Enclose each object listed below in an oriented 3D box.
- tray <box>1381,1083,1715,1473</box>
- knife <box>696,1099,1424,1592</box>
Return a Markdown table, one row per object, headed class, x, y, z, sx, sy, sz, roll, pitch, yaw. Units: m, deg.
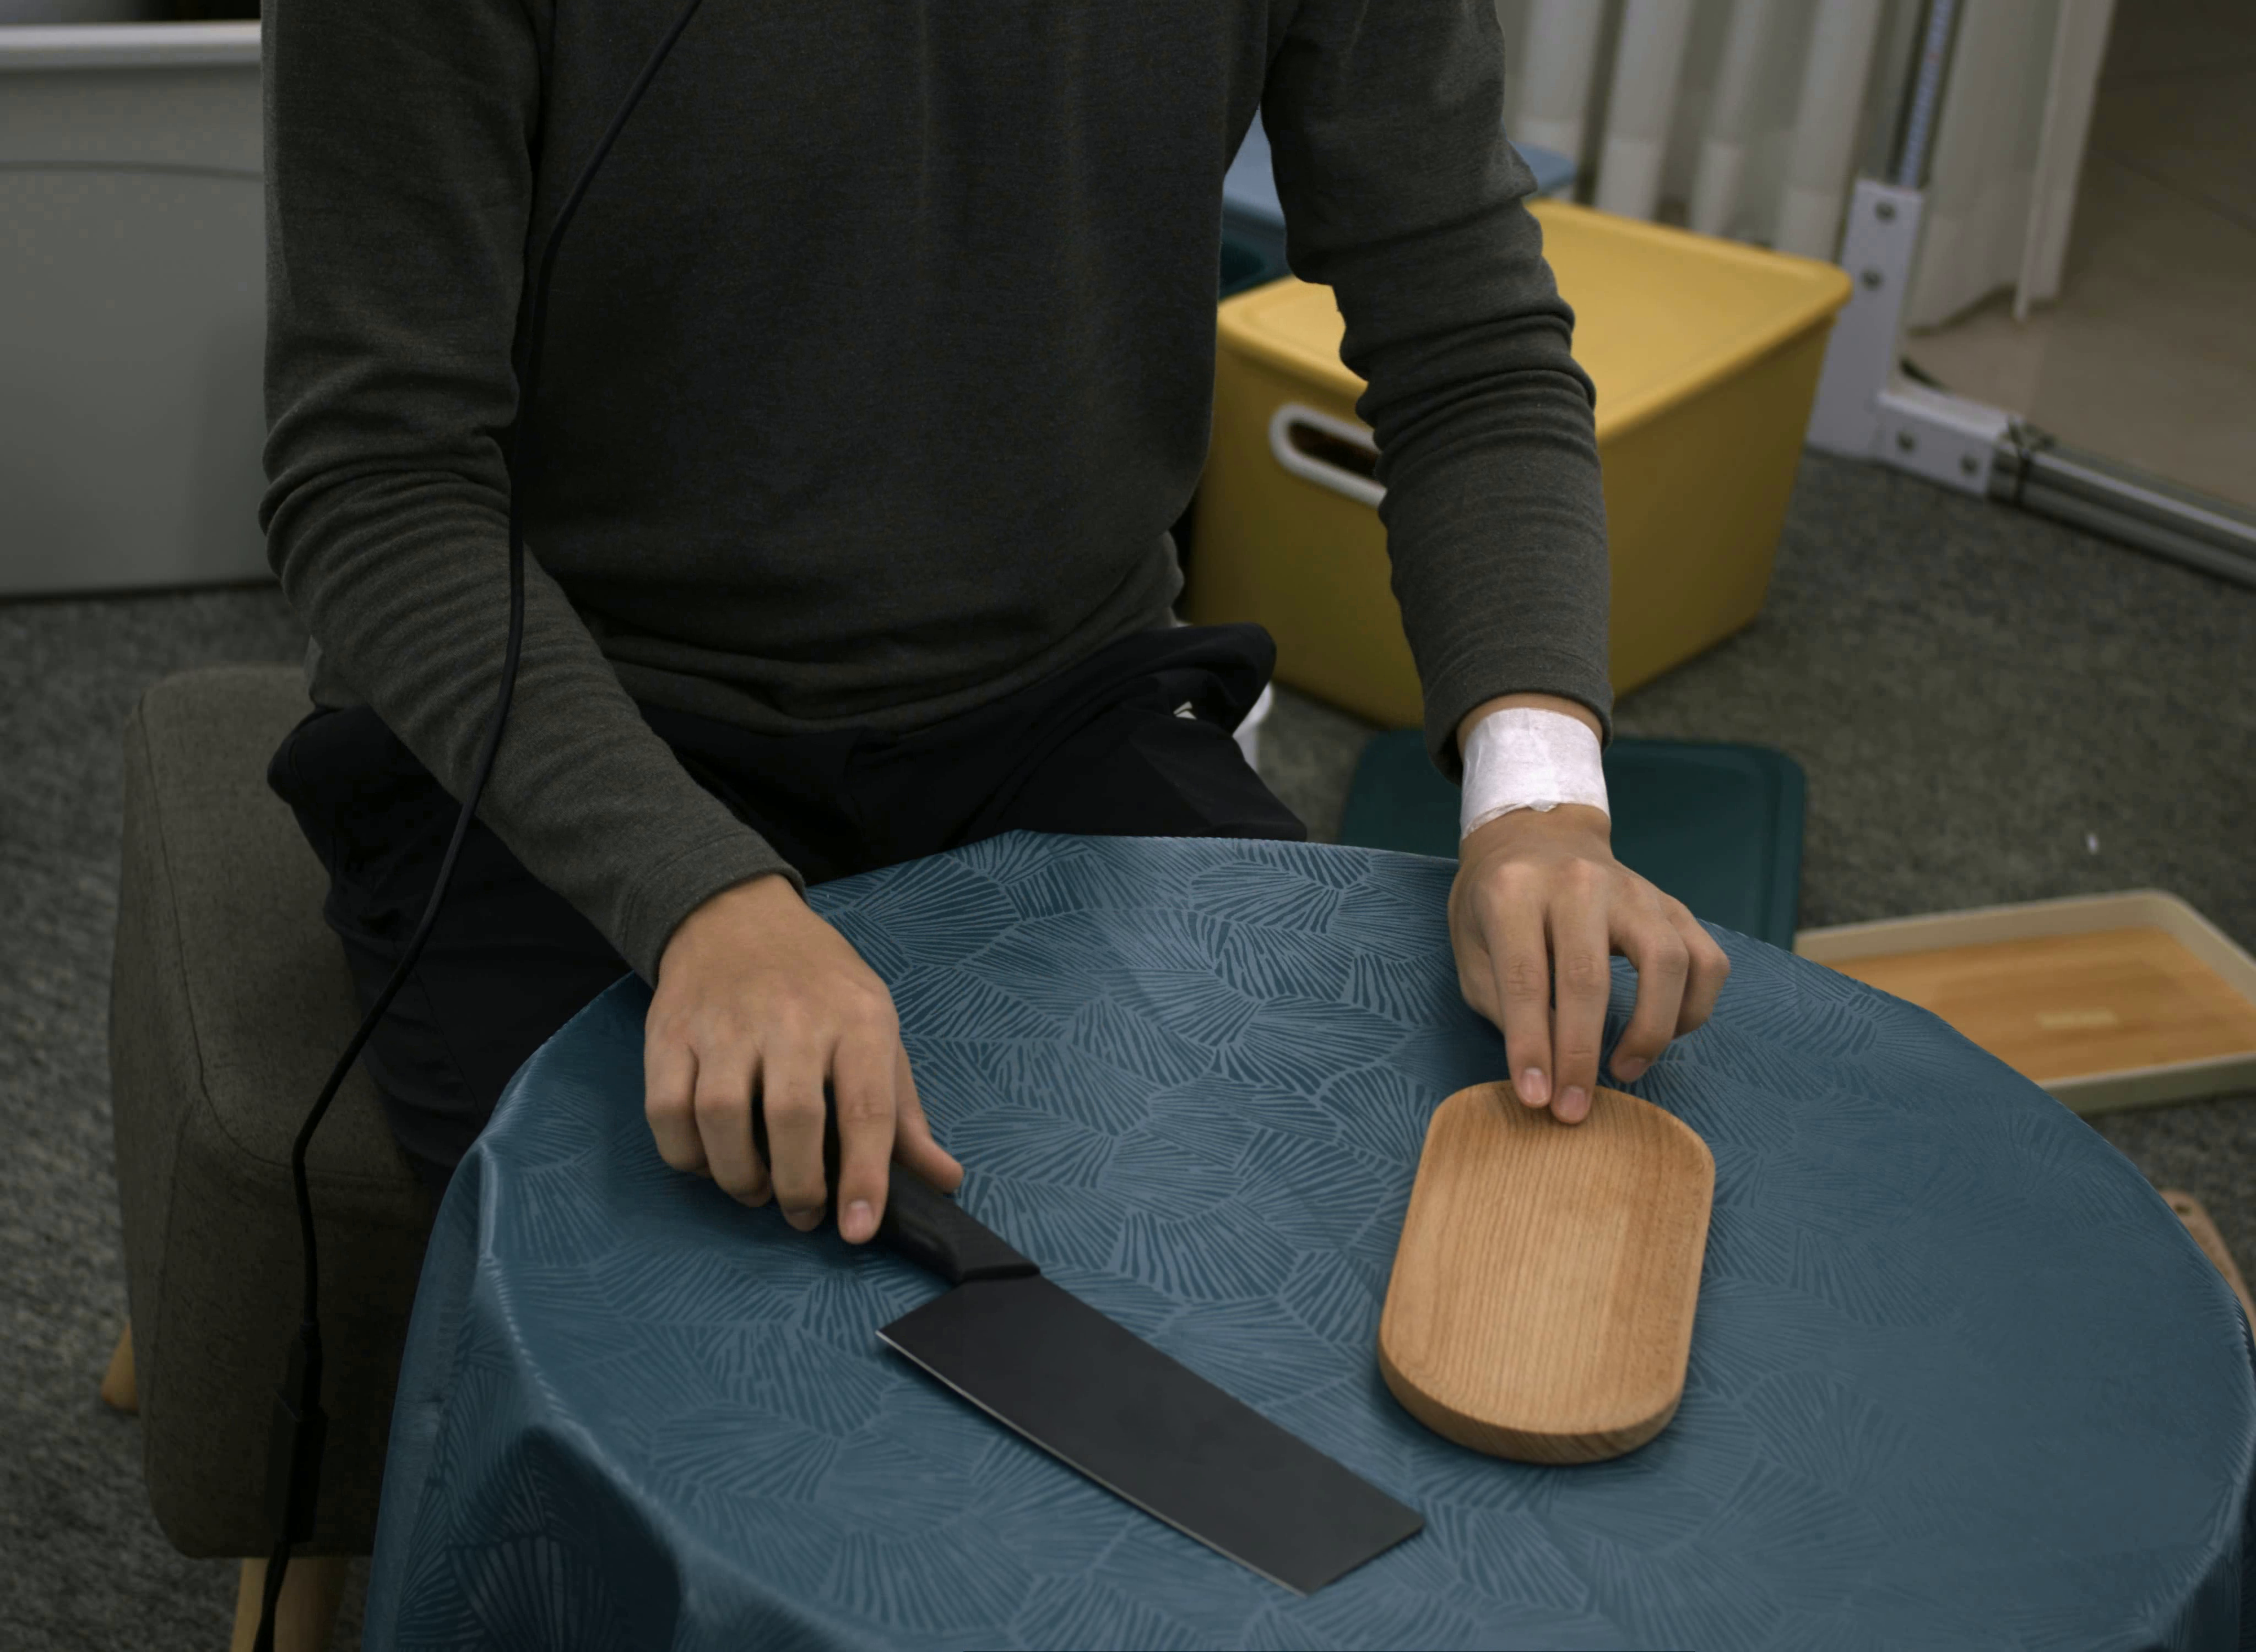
| class | x | y | z | sx | sy | sz | roll | pitch | yaw |
| --- | --- | --- | --- | --- | --- | --- | --- | --- | --- |
| tray | 0.141 | 0.148 | 1.772 | 0.101 | 0.020 | 0.232 | 8 | 28 | 6 |
| knife | -0.034 | 0.163 | 1.706 | 0.080 | 0.021 | 0.305 | -19 | 38 | -39 |
